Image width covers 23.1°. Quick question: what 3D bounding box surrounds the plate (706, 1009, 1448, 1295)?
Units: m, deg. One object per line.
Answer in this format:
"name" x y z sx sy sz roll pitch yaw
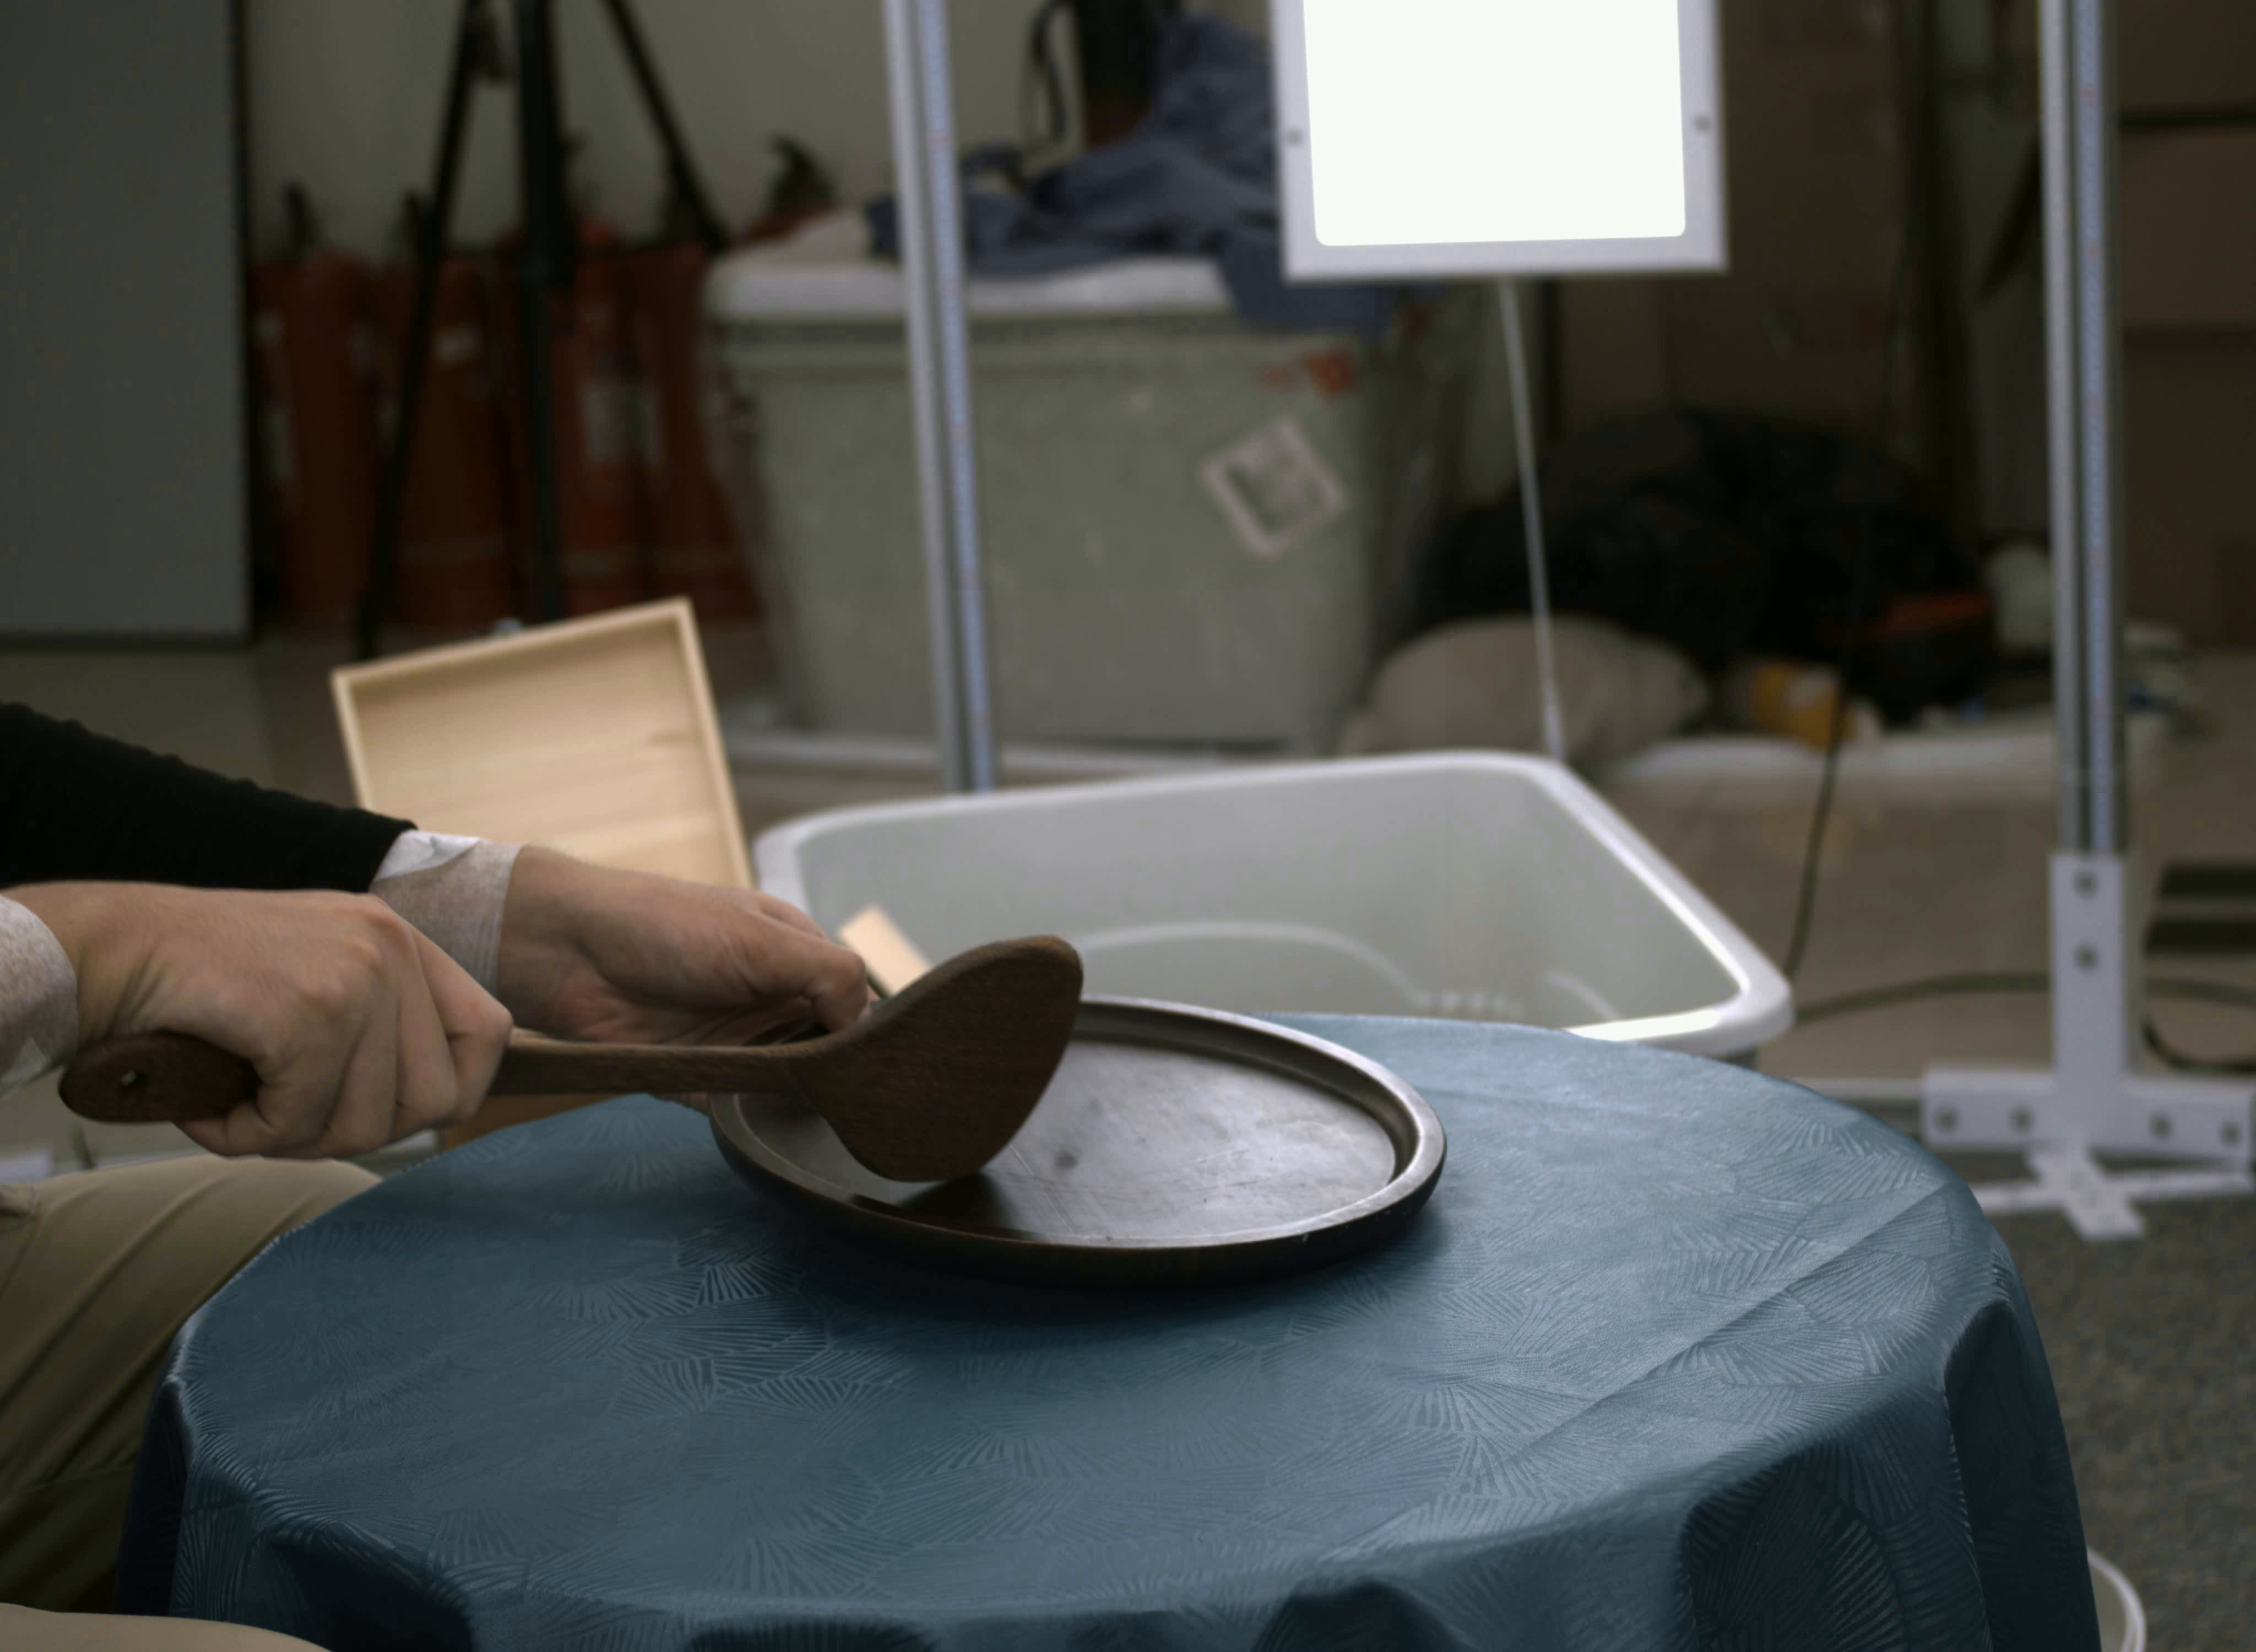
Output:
"plate" -0.018 0.107 1.869 0.253 0.029 0.254 4 17 -3

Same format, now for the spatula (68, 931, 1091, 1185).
"spatula" -0.160 0.074 1.699 0.376 0.097 0.016 2 31 -41
